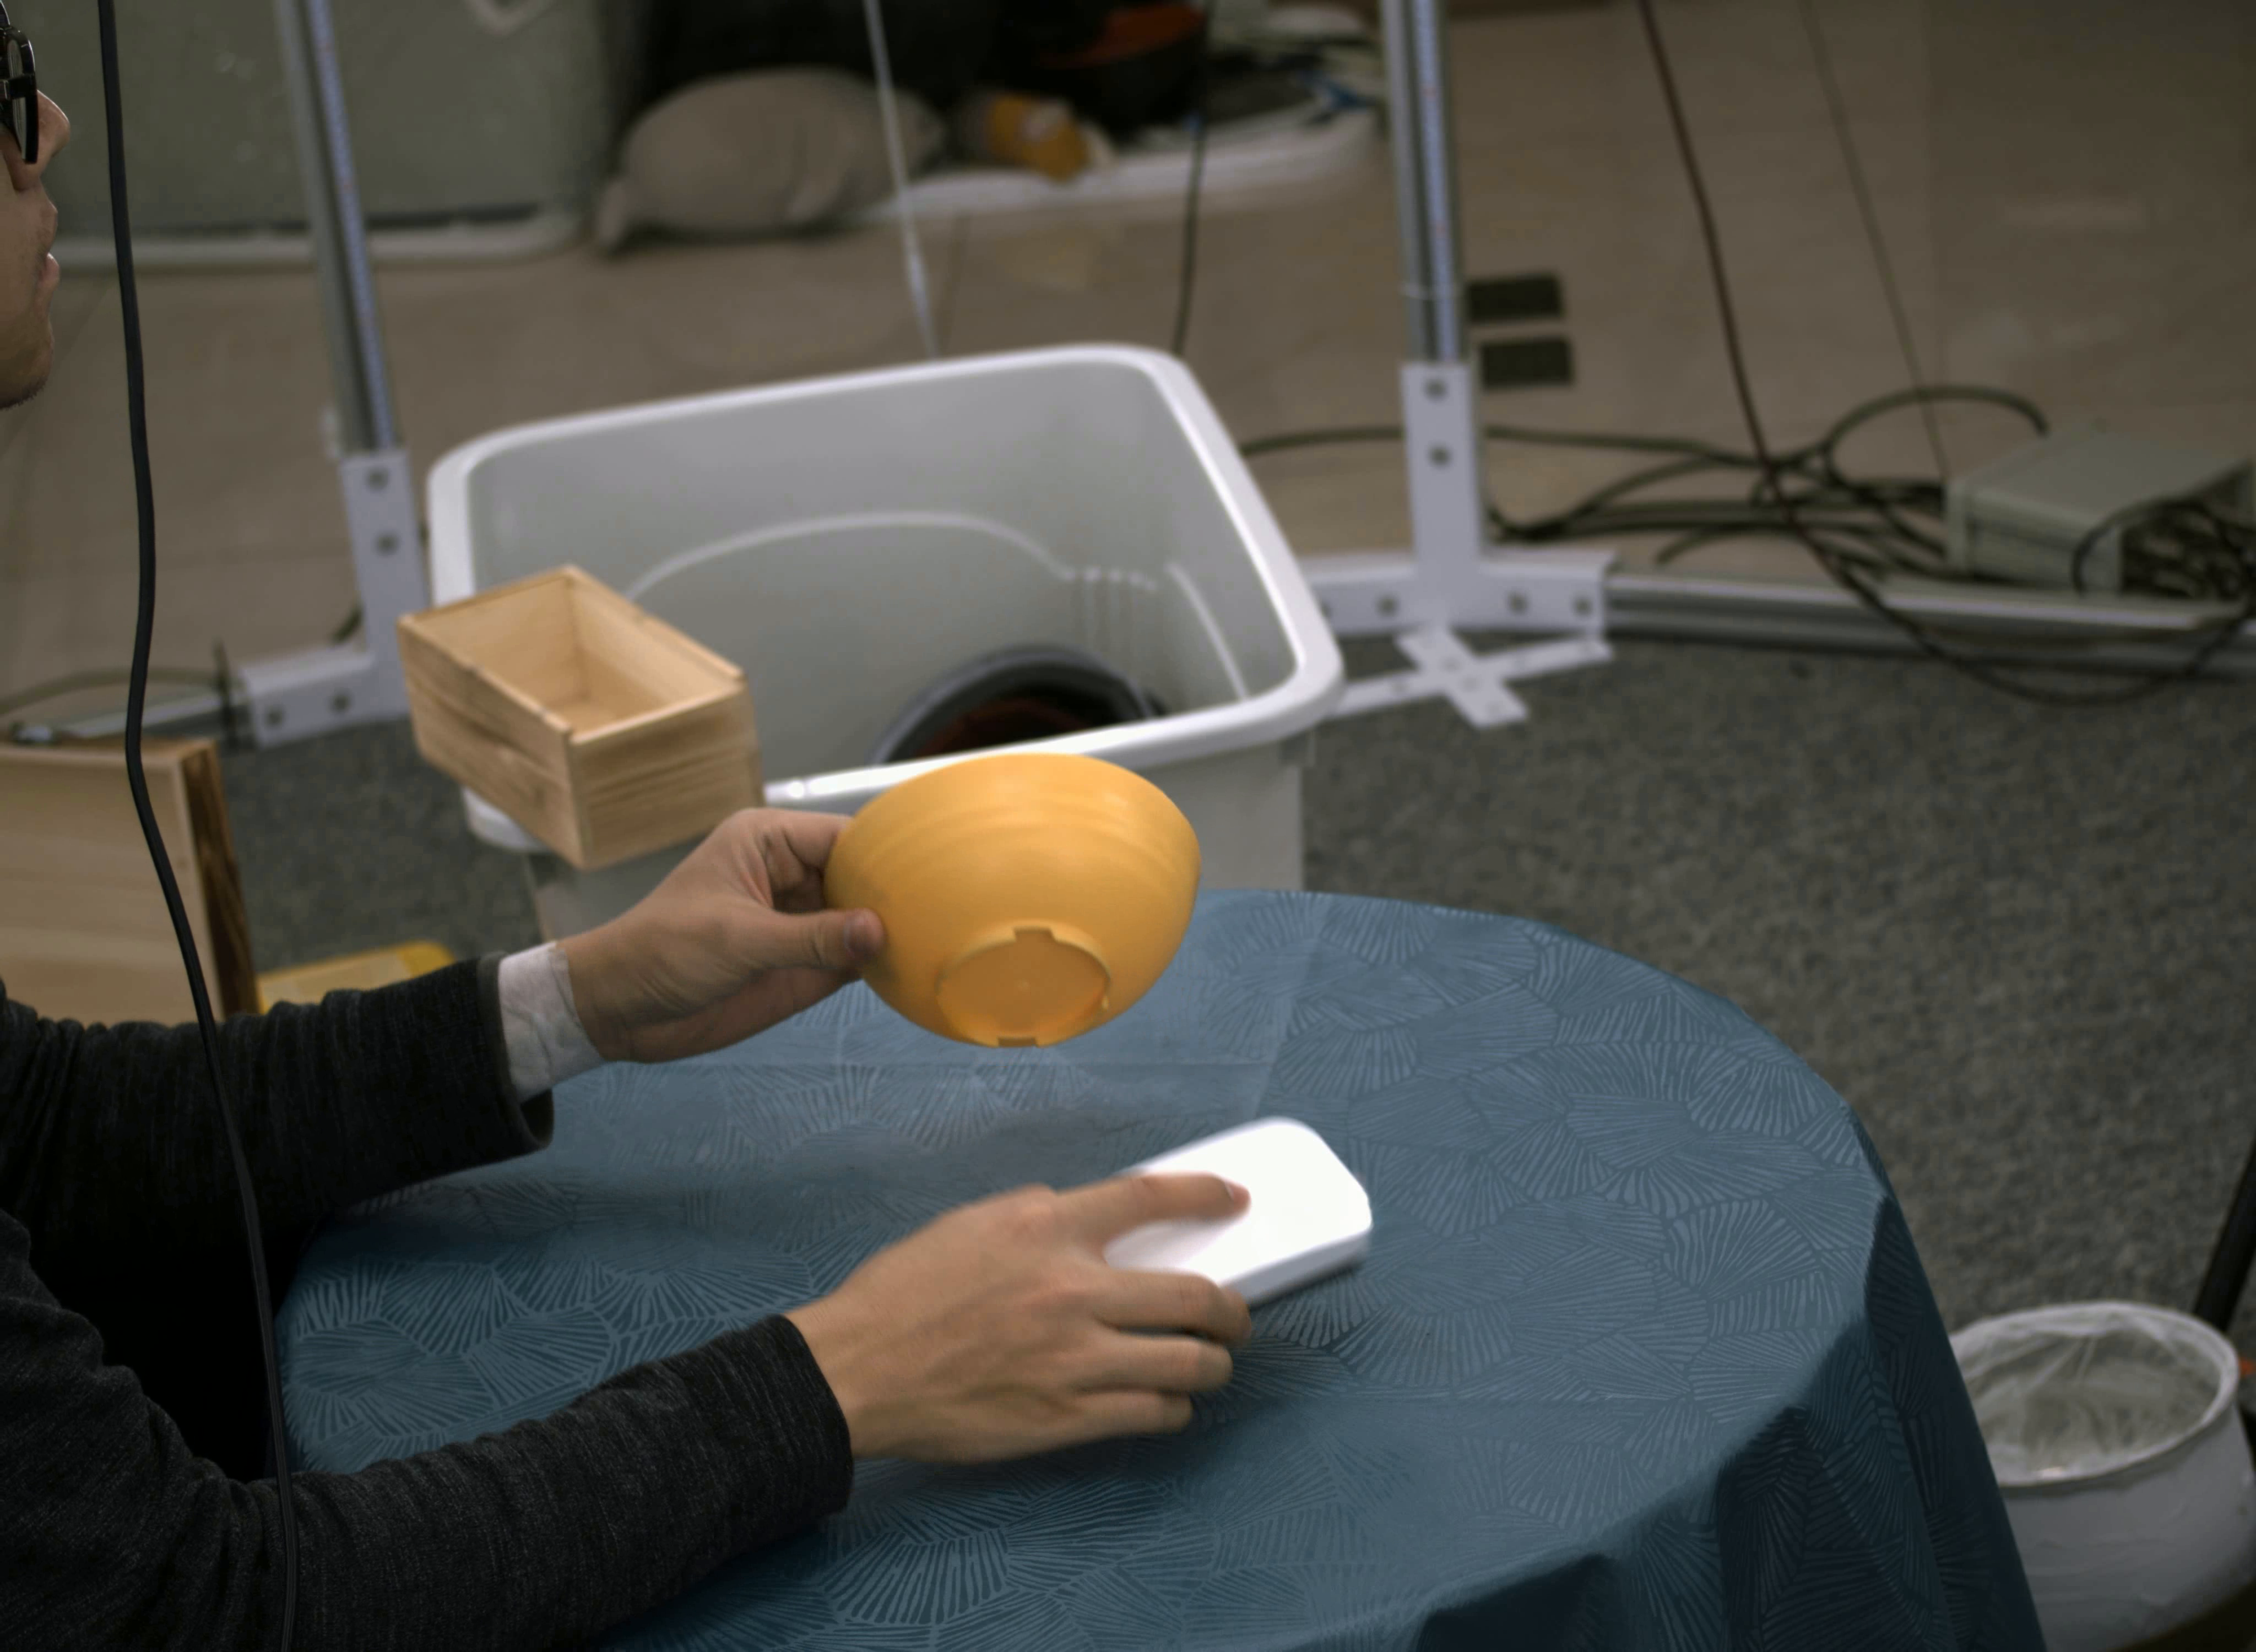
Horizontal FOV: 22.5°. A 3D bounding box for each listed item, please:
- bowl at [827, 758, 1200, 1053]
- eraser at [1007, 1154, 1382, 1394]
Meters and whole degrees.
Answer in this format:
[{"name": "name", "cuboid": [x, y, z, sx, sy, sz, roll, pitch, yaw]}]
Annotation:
[{"name": "bowl", "cuboid": [-0.040, 0.043, 2.140, 0.145, 0.148, 0.059, -7, 52, -1]}, {"name": "eraser", "cuboid": [0.023, 0.155, 2.004, 0.130, 0.035, 0.062, -17, 45, -23]}]
